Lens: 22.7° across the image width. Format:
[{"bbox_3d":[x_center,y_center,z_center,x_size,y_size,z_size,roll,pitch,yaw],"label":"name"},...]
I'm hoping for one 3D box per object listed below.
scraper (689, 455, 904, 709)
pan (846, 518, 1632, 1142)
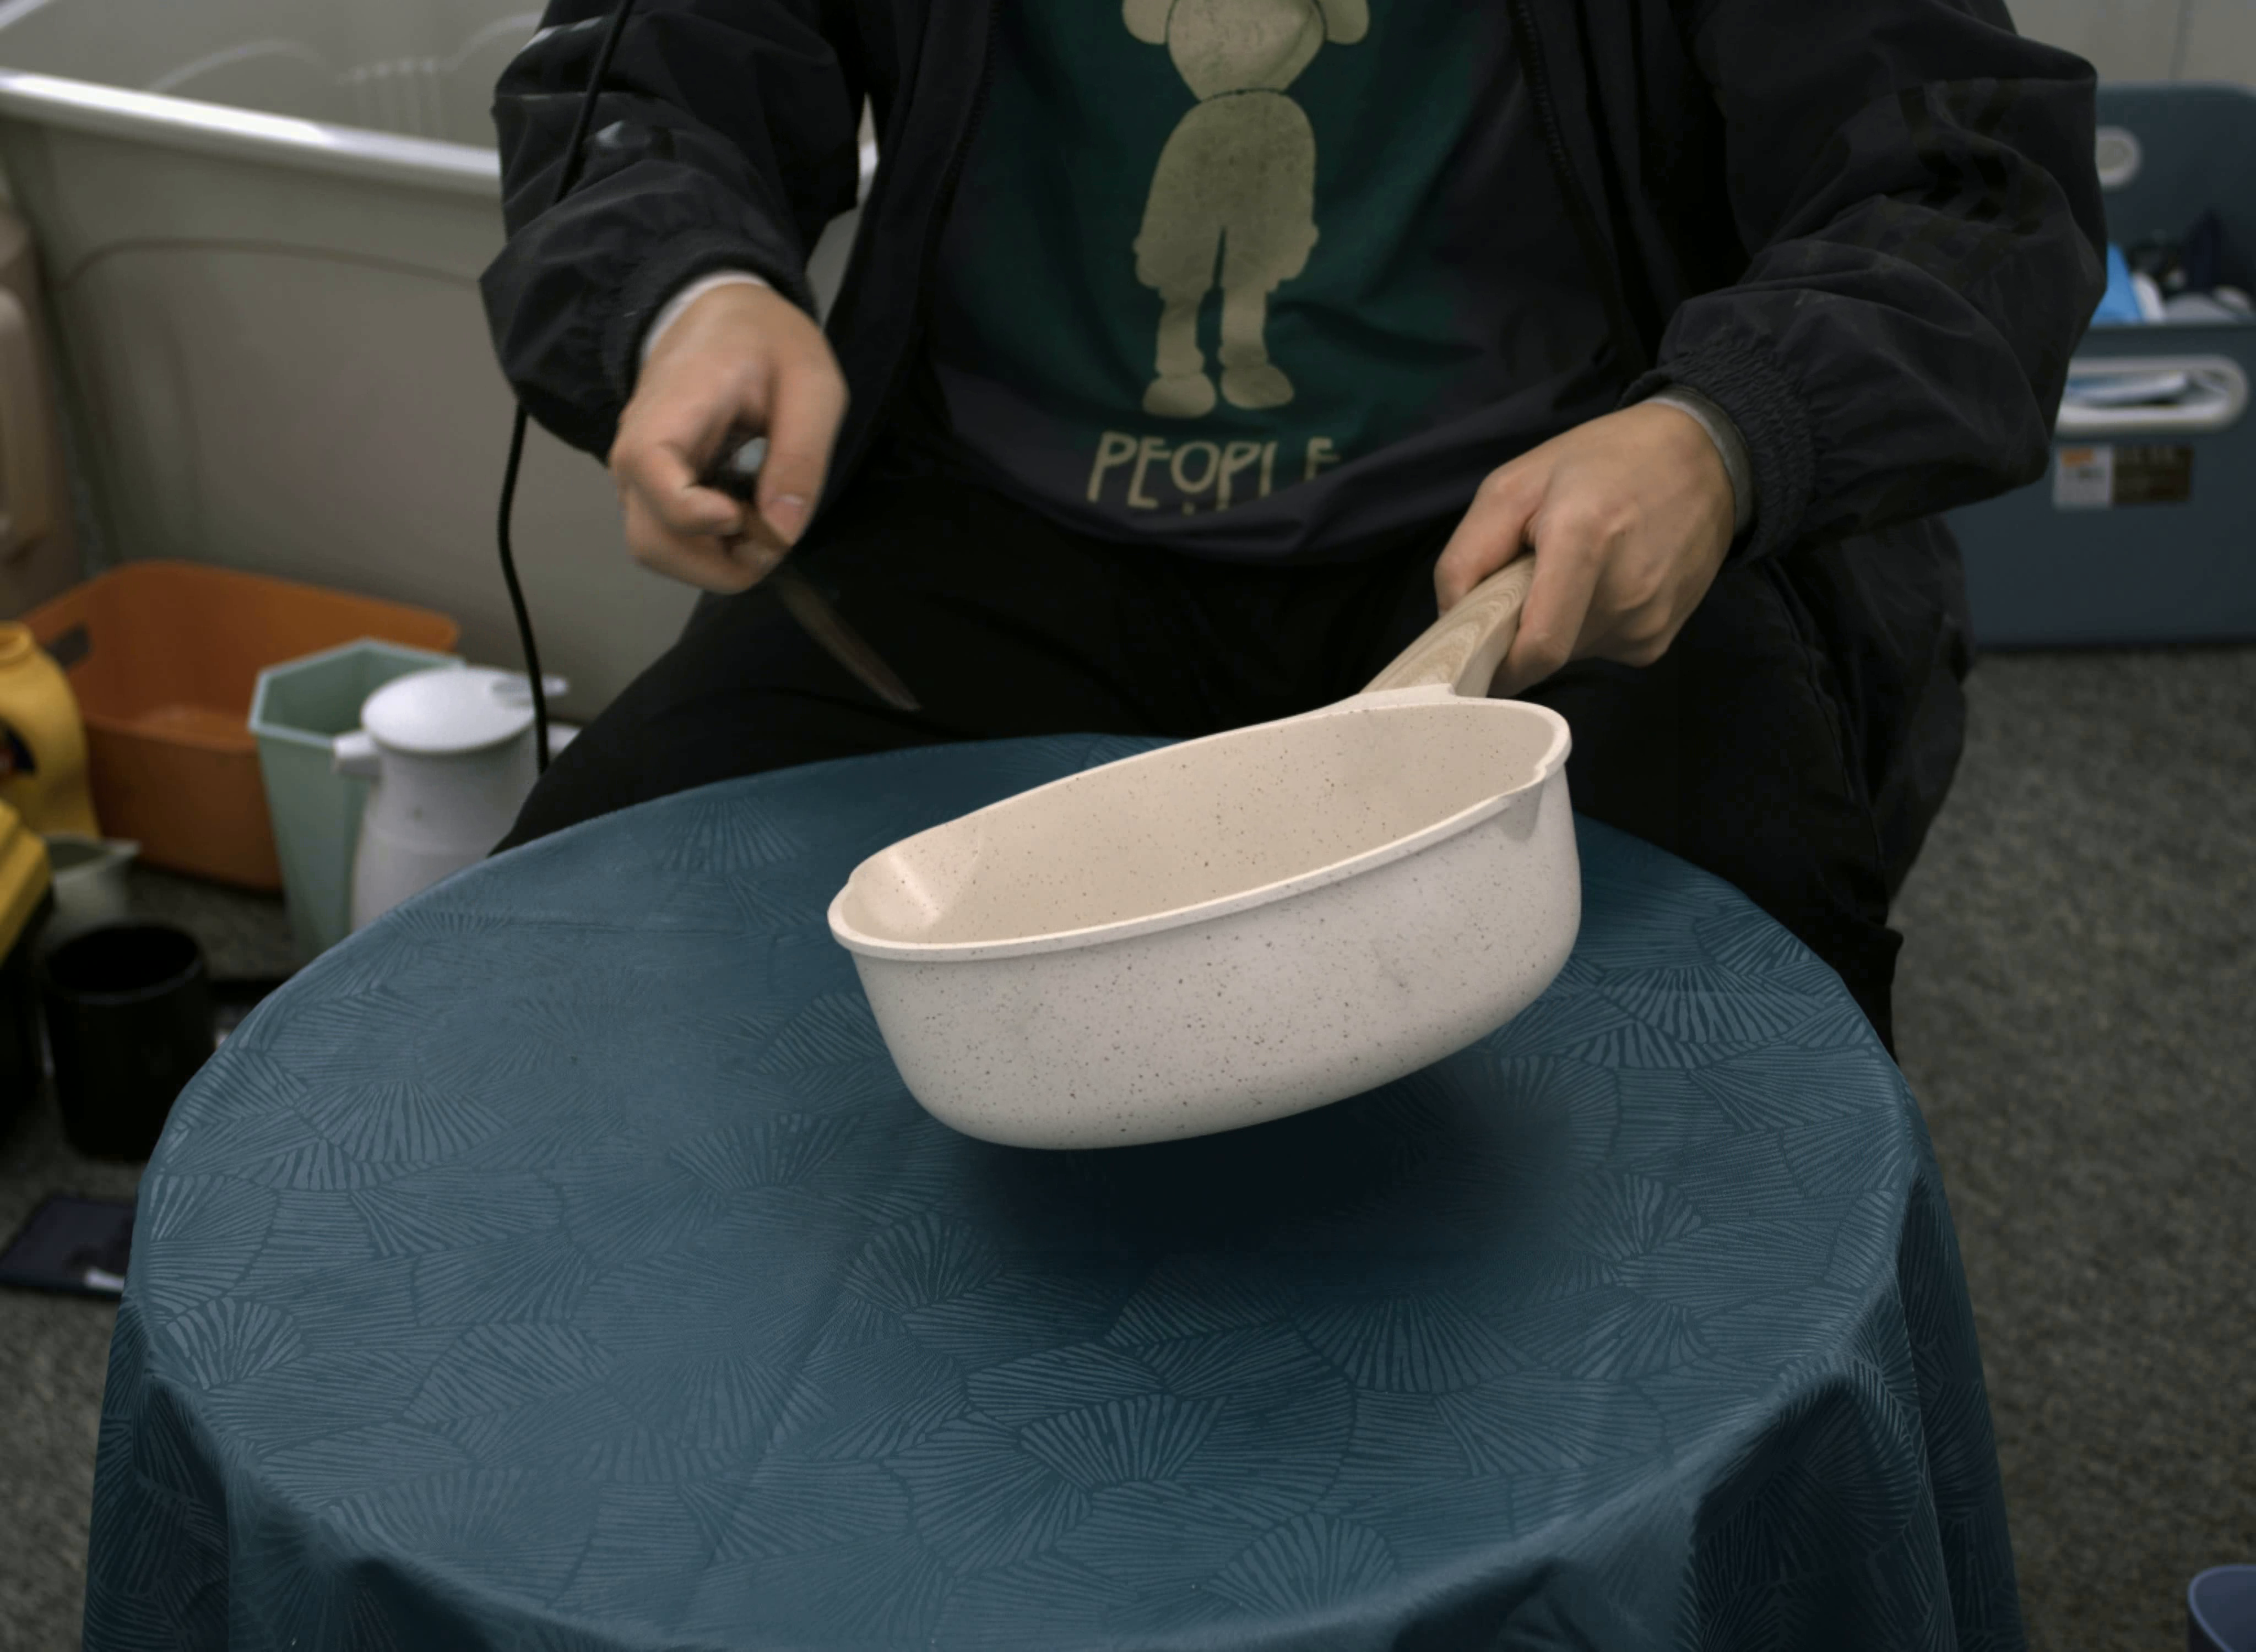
[{"bbox_3d":[-0.124,-0.091,1.930,0.011,0.075,0.213,-45,23,4],"label":"scraper"},{"bbox_3d":[0.082,-0.001,1.917,0.260,0.102,0.440,-8,13,33],"label":"pan"}]
